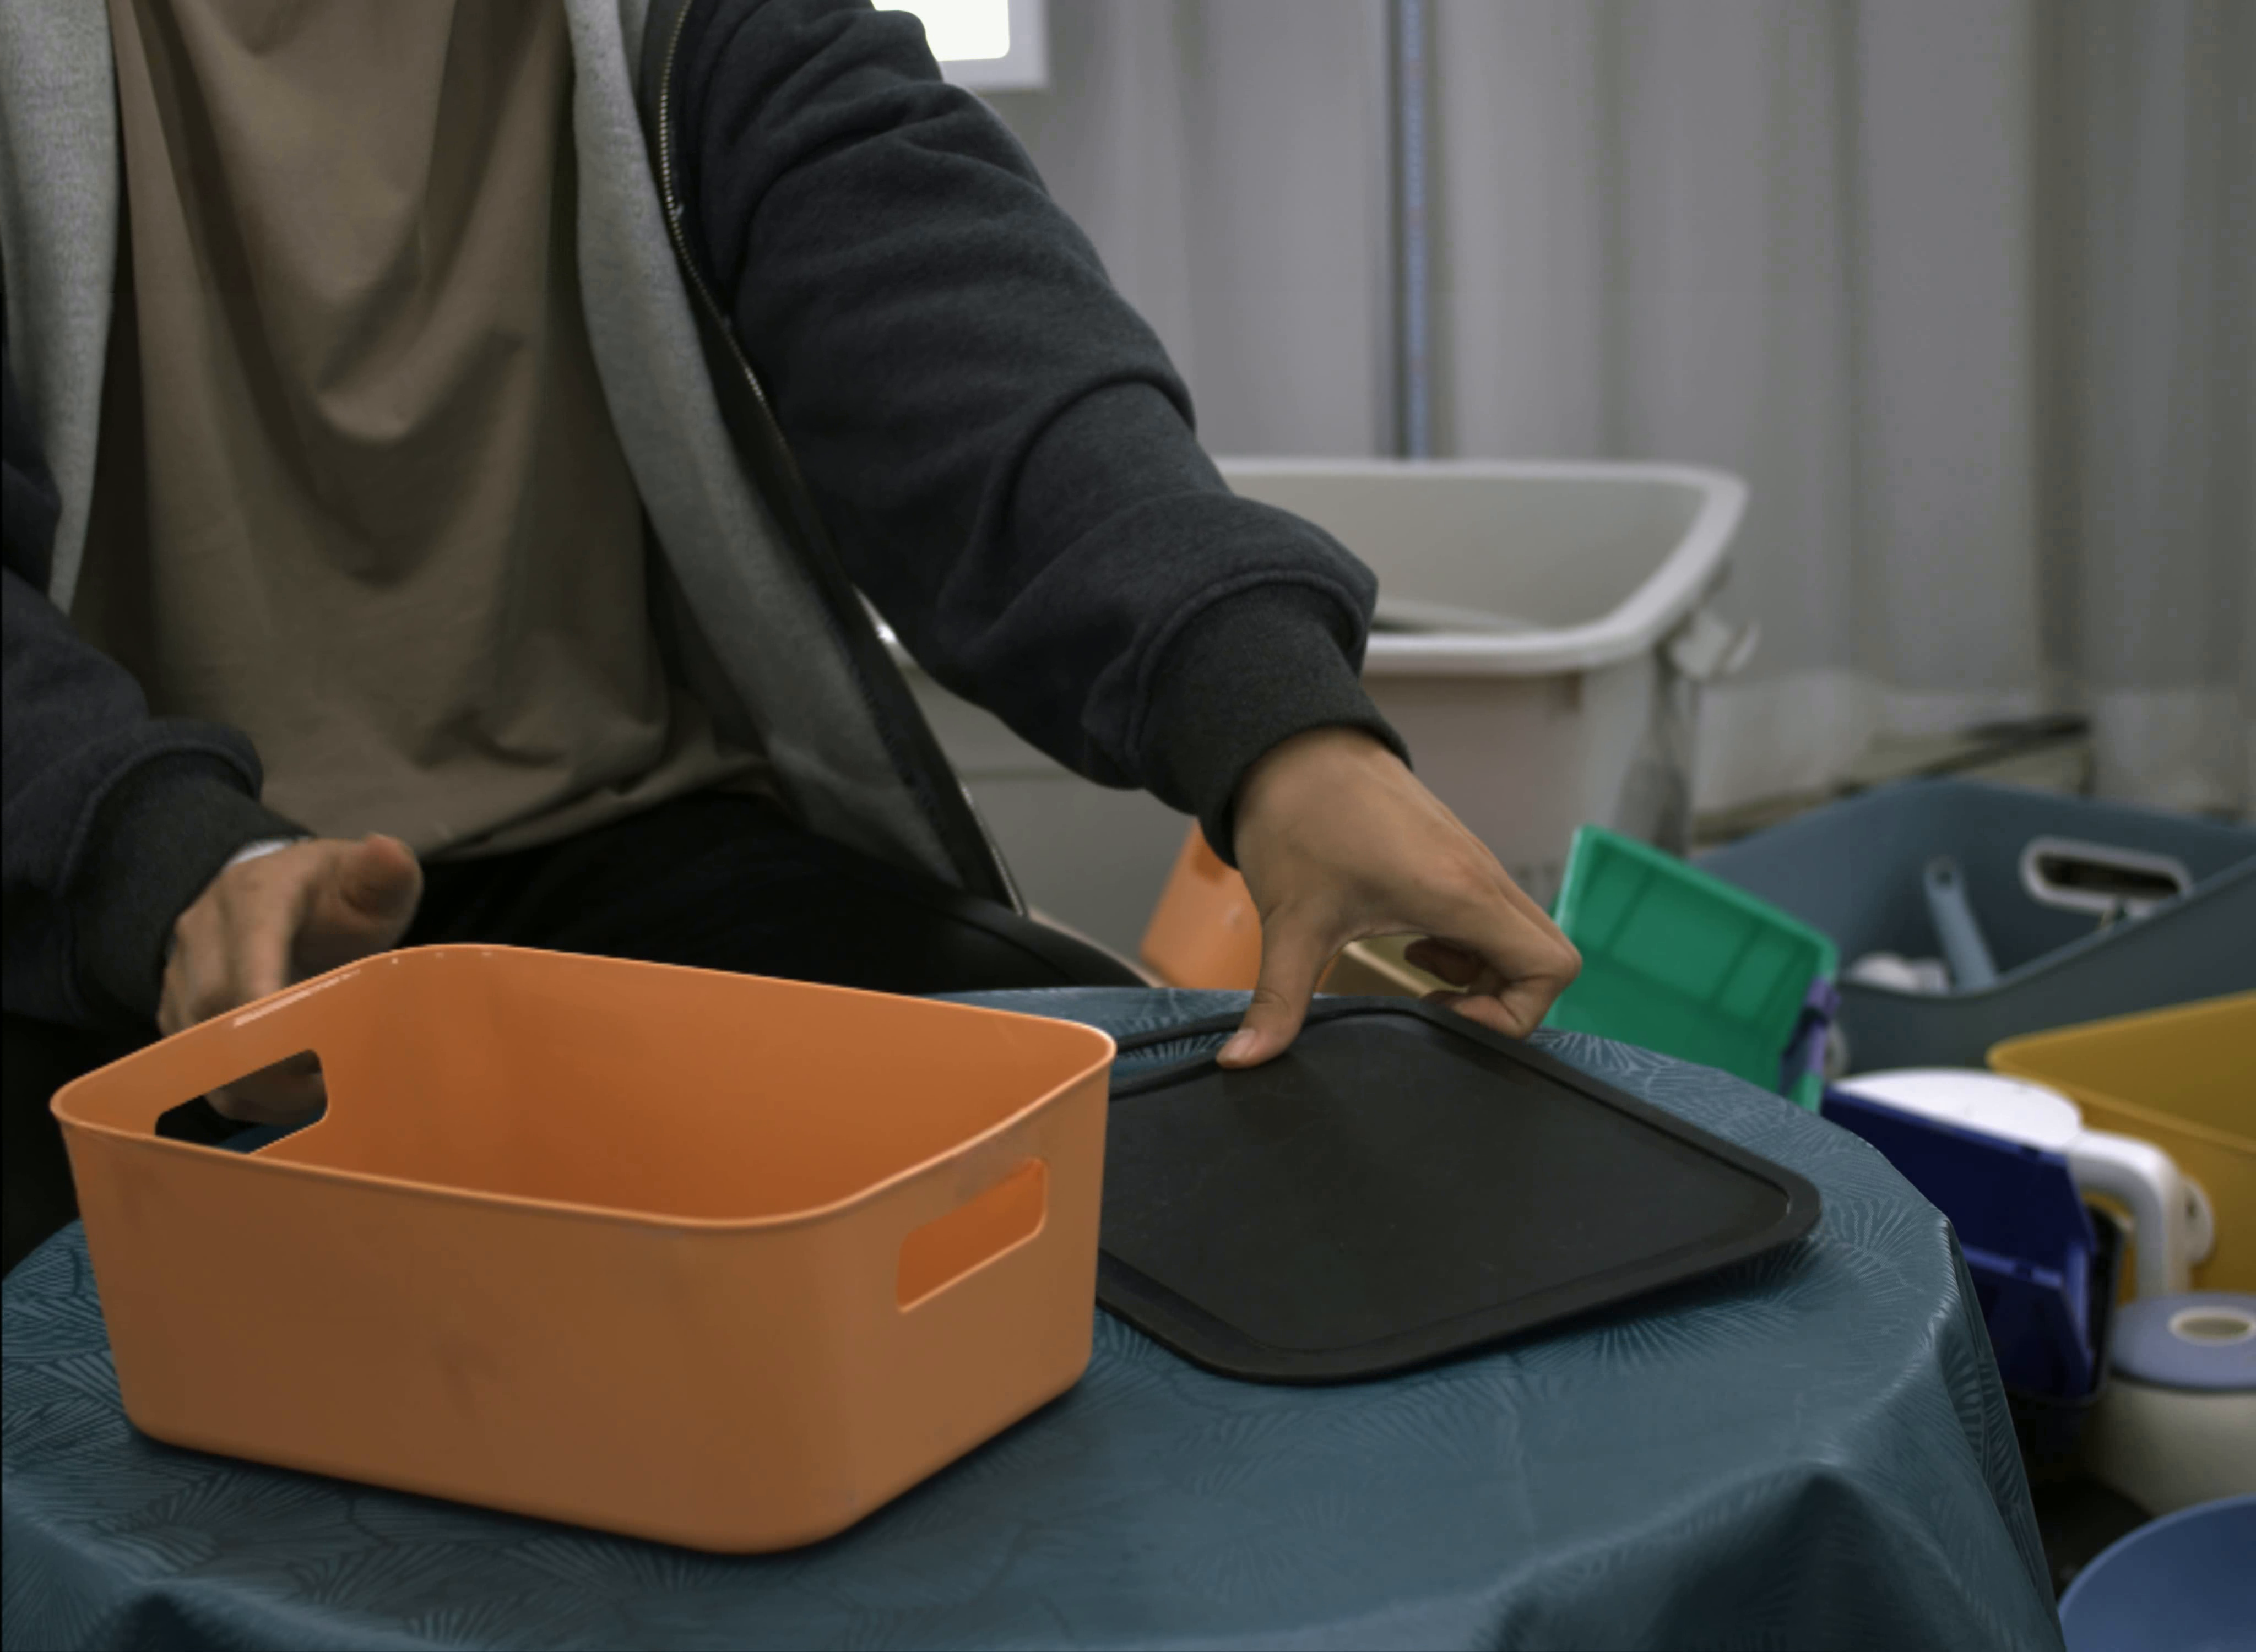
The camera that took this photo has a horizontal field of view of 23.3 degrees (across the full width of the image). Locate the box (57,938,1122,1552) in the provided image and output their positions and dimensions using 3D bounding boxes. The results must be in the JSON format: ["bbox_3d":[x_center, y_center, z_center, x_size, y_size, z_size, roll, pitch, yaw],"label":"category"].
[{"bbox_3d":[-0.148,0.115,1.543,0.274,0.102,0.199,6,18,31],"label":"box"}]

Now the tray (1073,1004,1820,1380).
[{"bbox_3d":[0.055,0.107,1.707,0.210,0.010,0.328,-14,18,-25],"label":"tray"}]
